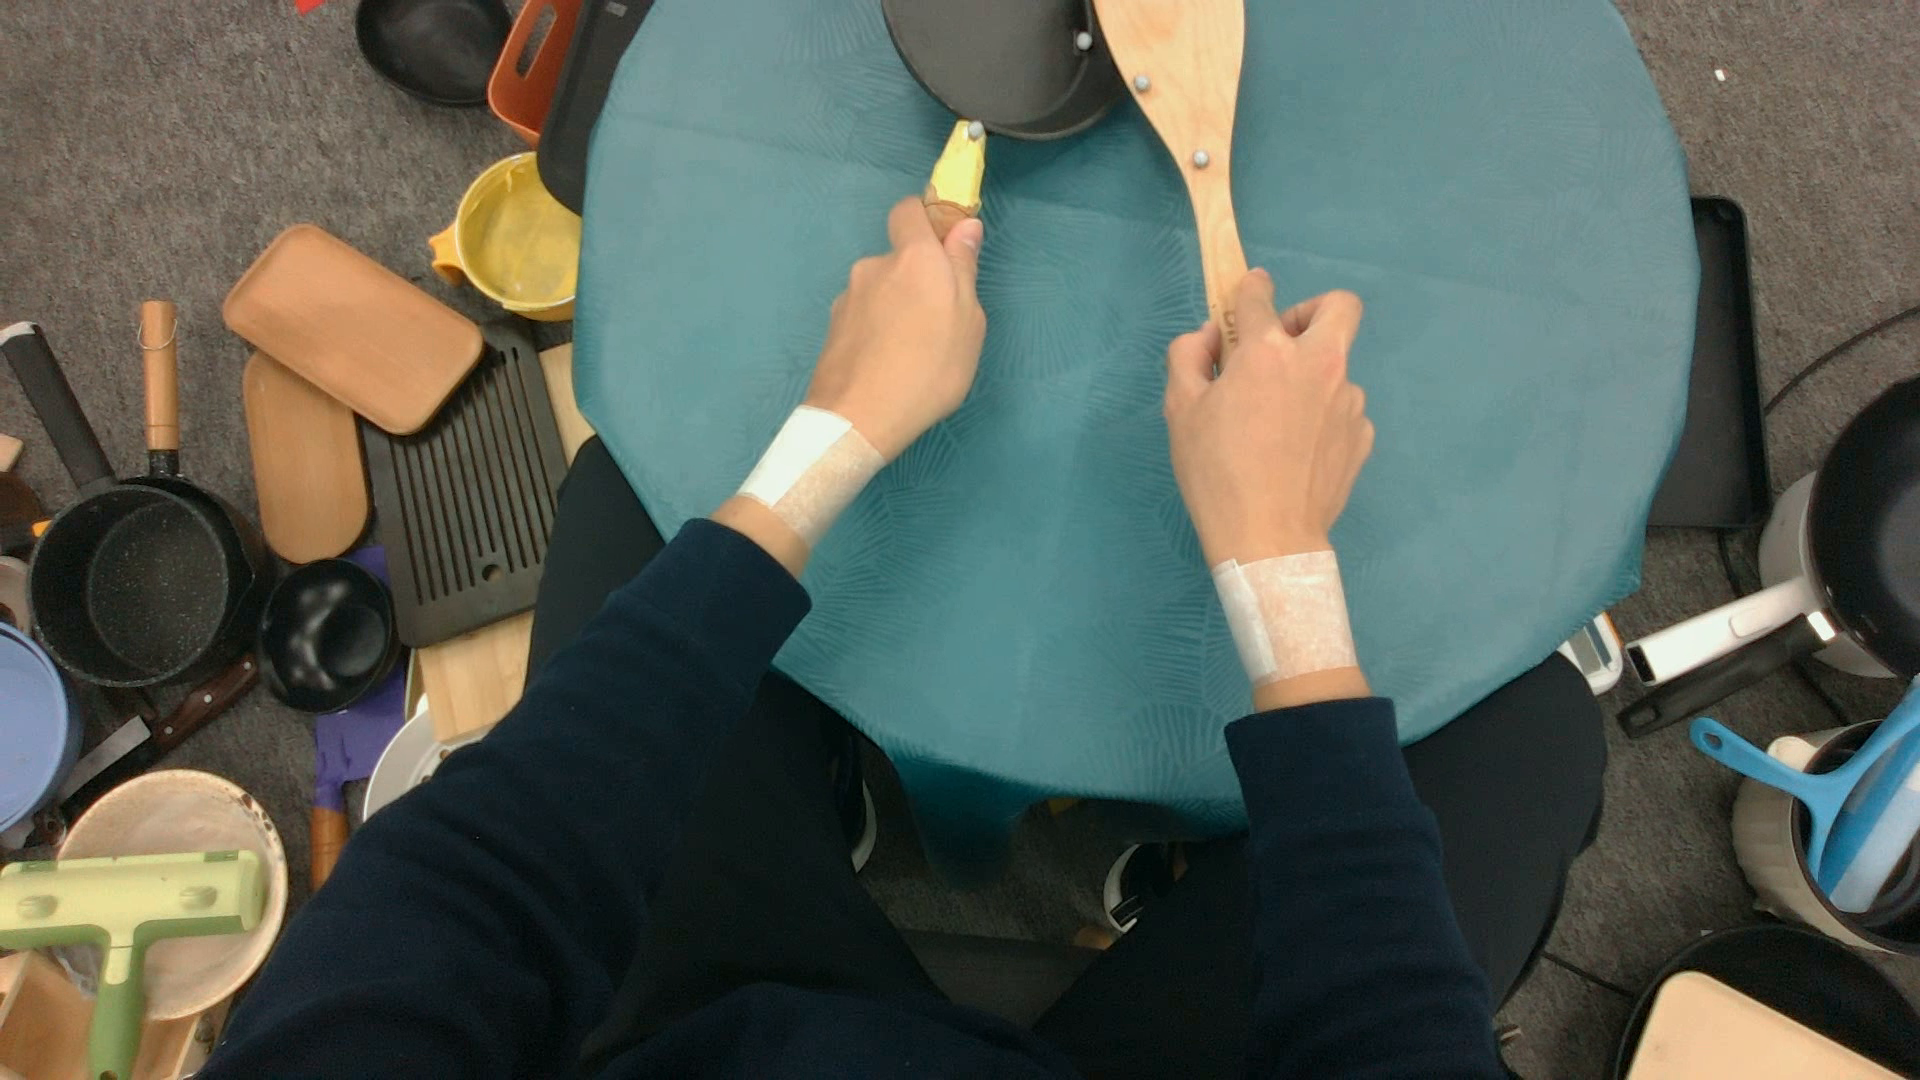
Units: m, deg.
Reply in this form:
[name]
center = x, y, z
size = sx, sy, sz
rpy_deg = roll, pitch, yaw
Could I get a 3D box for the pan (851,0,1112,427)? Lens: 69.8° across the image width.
[pan]
center = -0.013, -0.208, 0.697
size = 0.169, 0.049, 0.325
rpy_deg = 22, 75, -25

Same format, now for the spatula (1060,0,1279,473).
[spatula]
center = 0.110, -0.183, 0.687
size = 0.080, 0.016, 0.328
rpy_deg = -12, 68, 7
